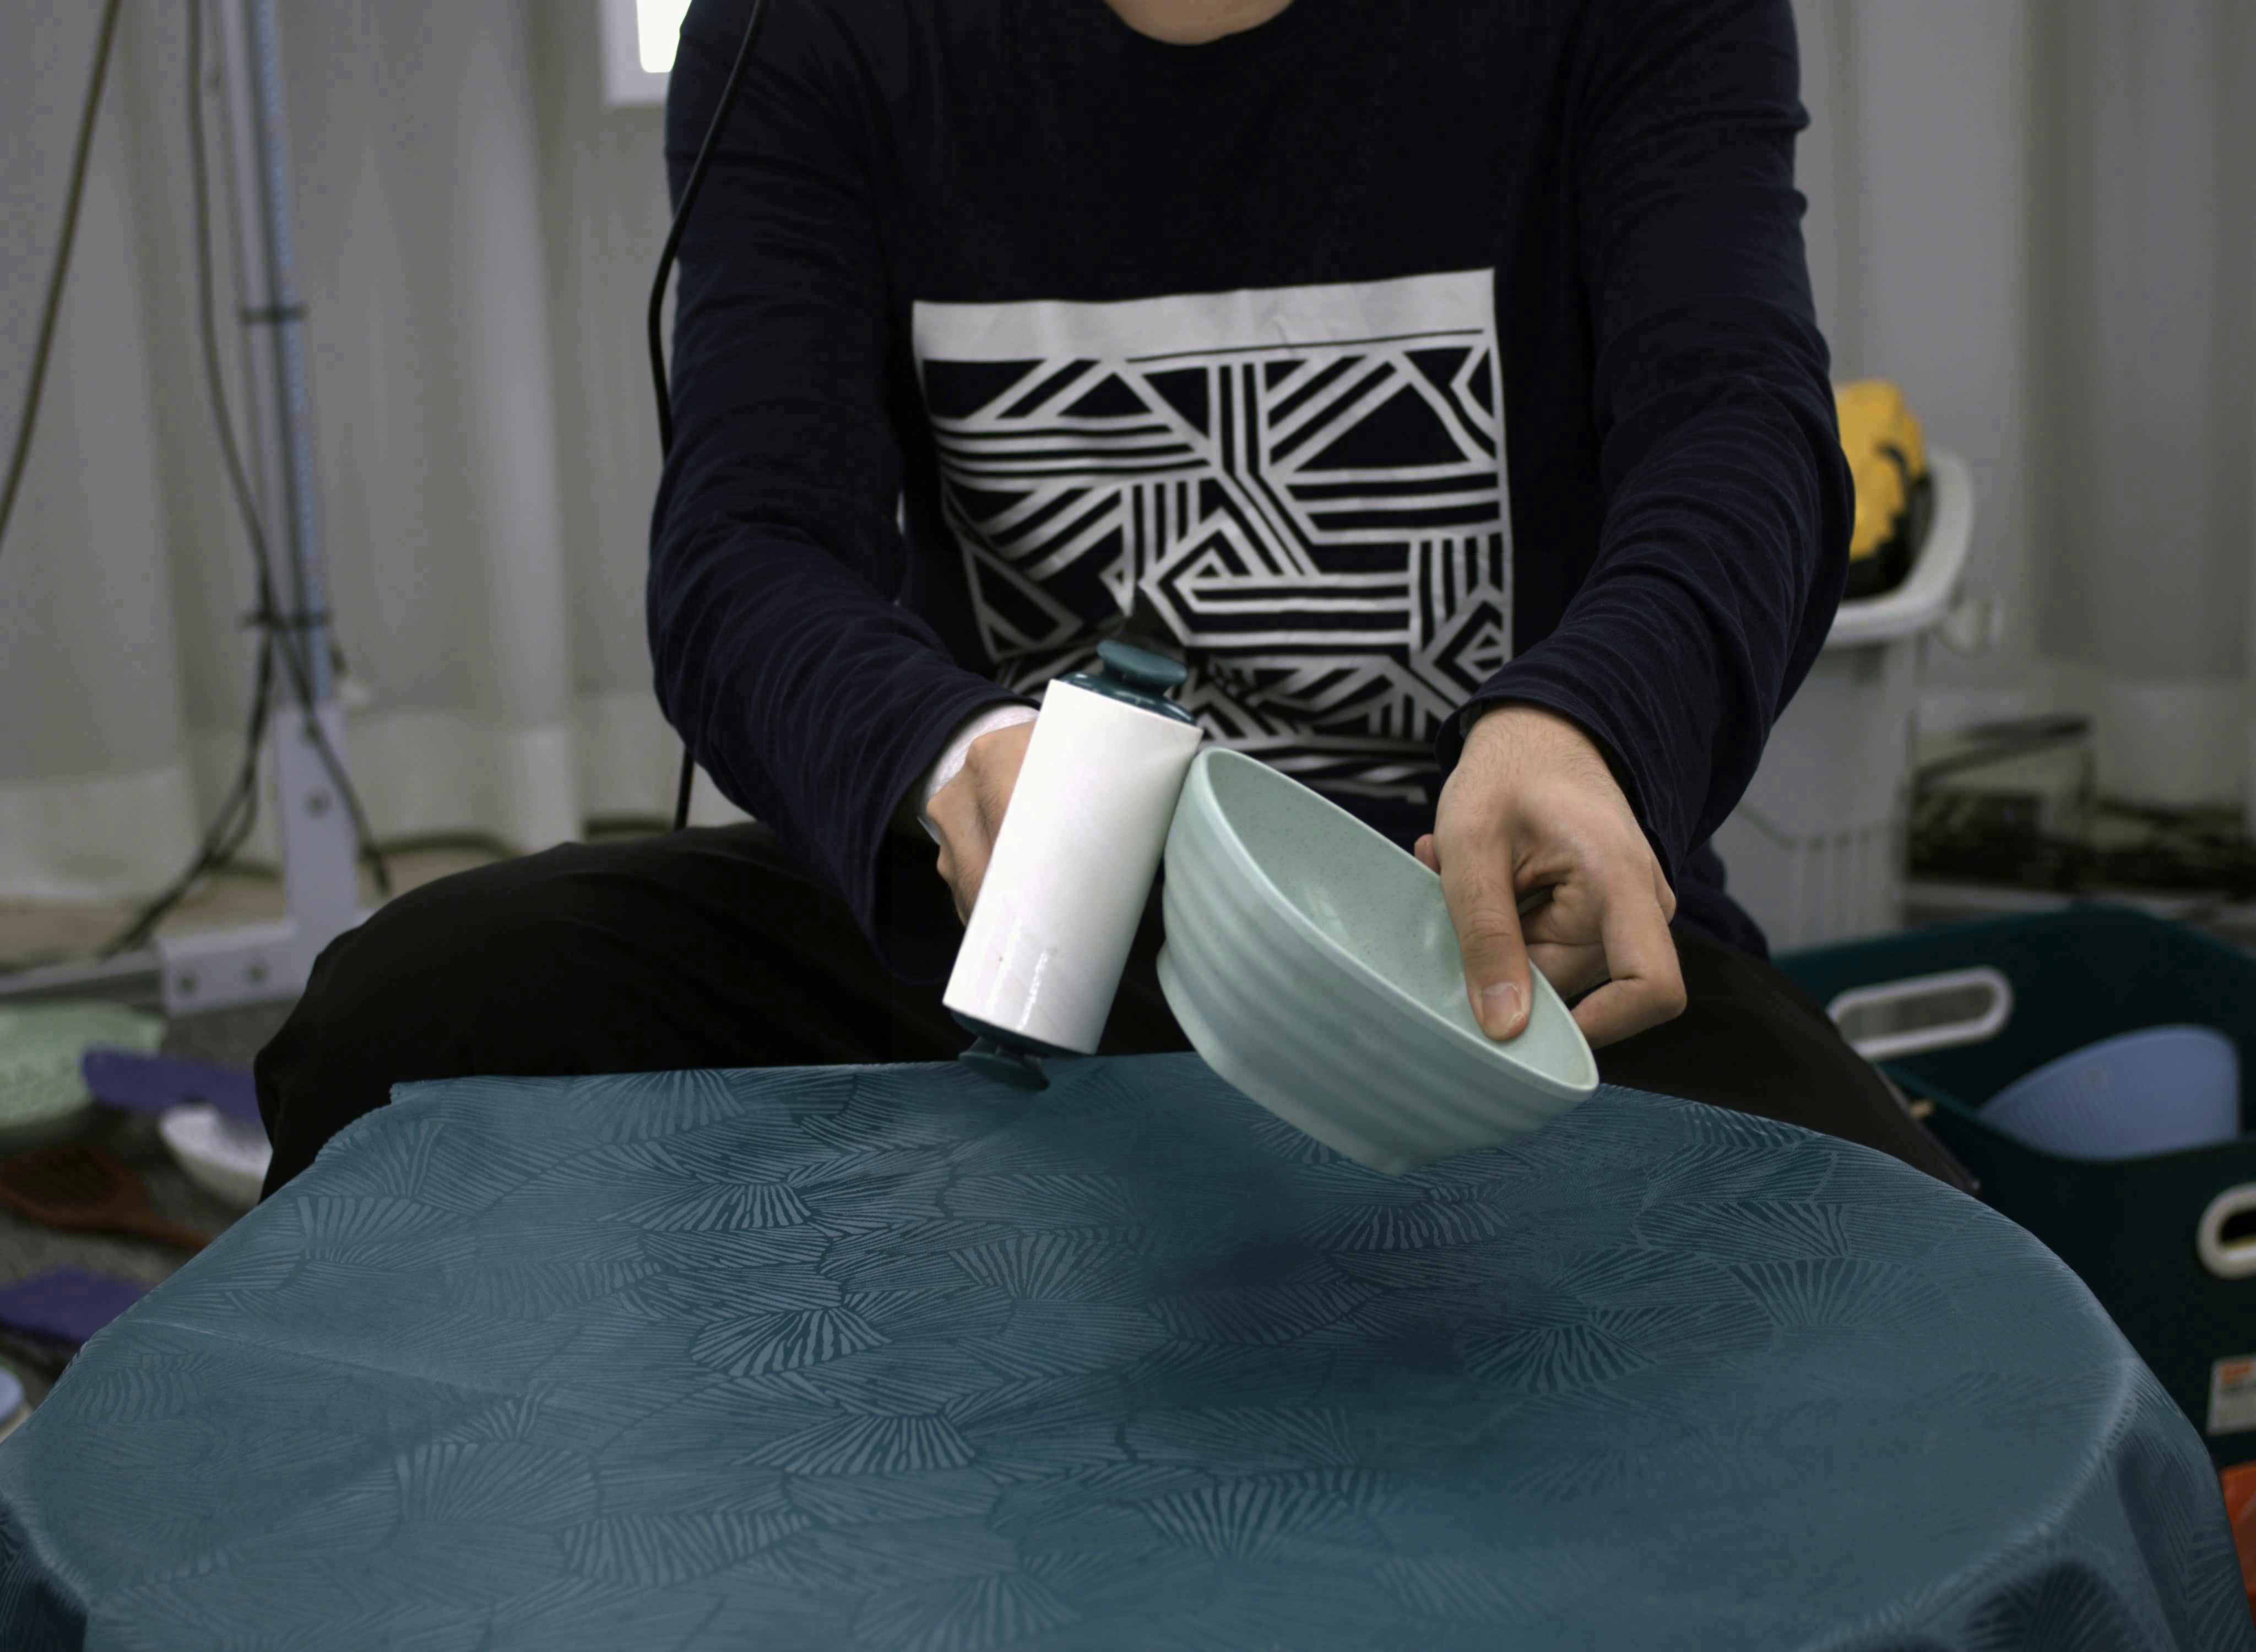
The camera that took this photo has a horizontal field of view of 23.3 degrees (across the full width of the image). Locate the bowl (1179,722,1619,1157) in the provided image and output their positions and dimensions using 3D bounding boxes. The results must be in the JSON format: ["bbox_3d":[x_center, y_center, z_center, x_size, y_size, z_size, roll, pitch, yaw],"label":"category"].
[{"bbox_3d":[0.066,0.041,1.560,0.150,0.058,0.153,28,26,-15],"label":"bowl"}]

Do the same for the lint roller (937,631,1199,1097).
[{"bbox_3d":[-0.024,0.009,1.640,0.048,0.135,0.180,19,0,-7],"label":"lint roller"}]
